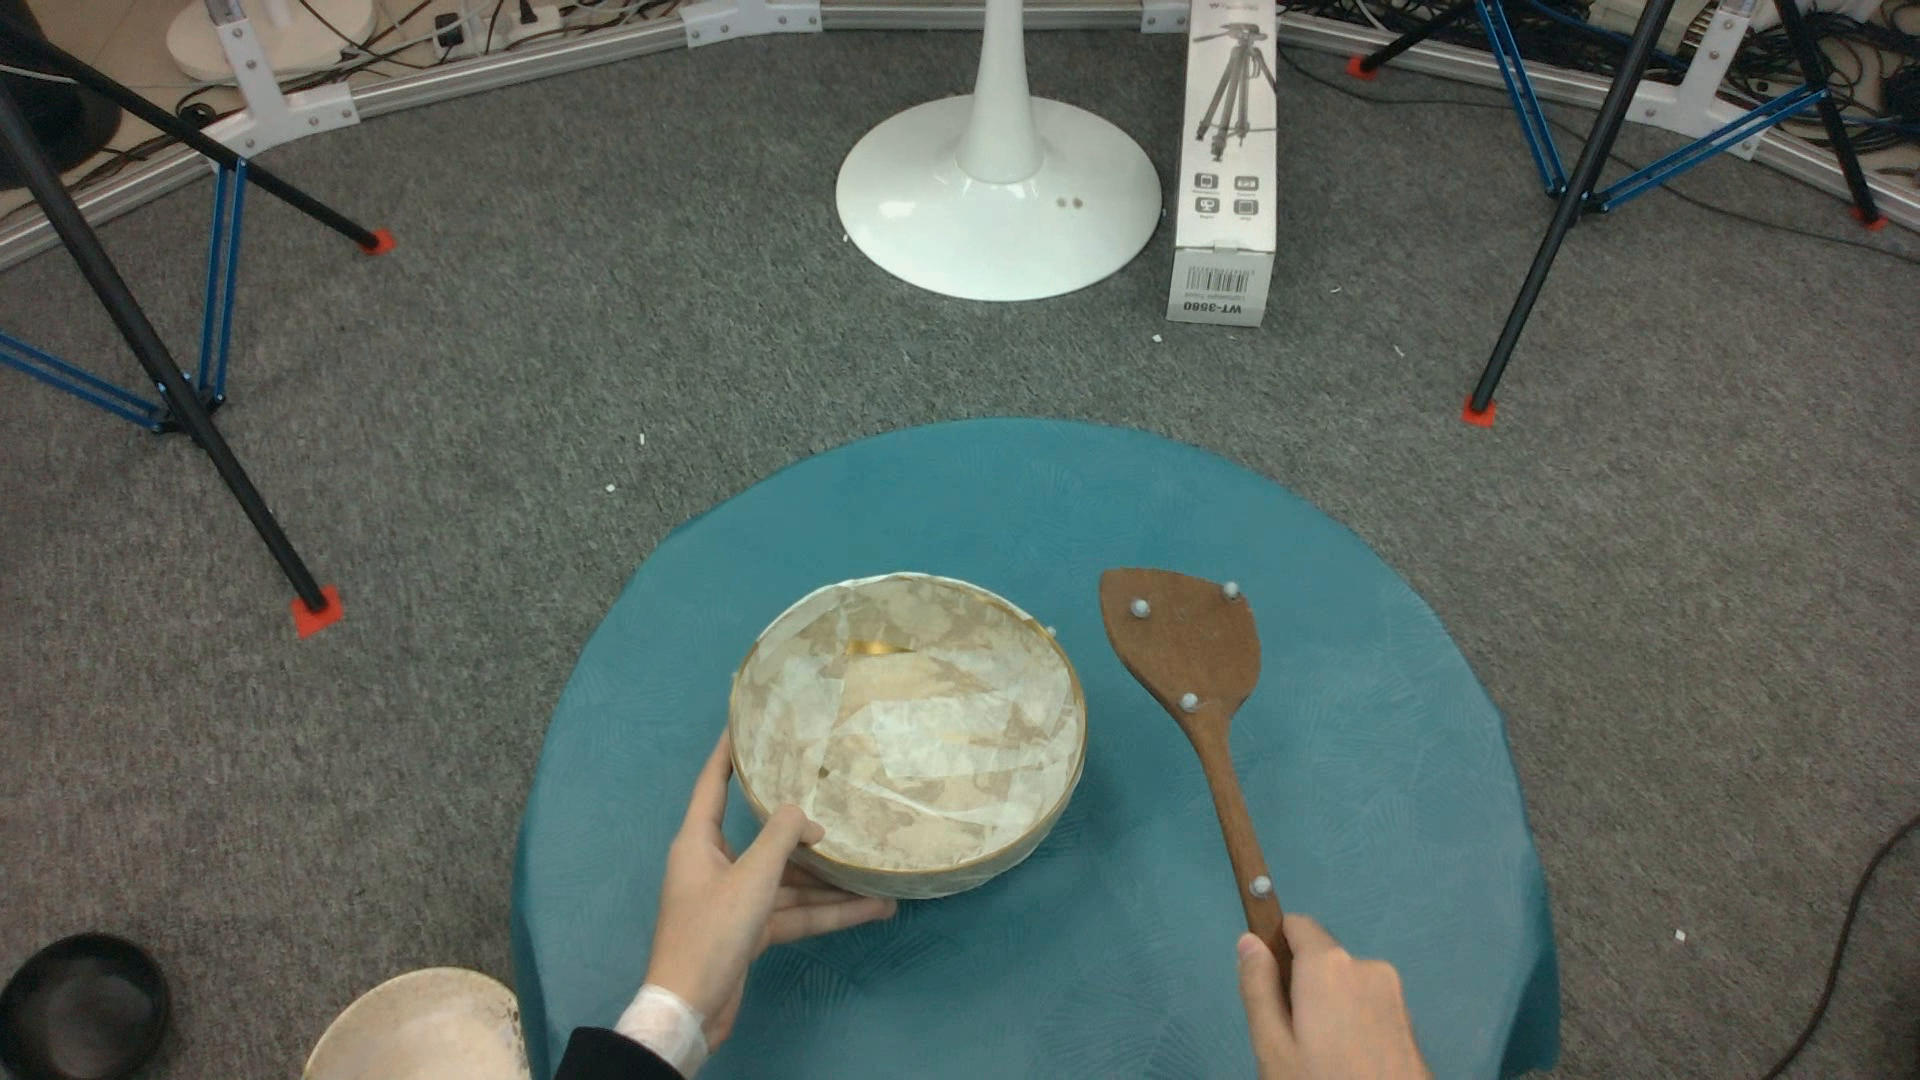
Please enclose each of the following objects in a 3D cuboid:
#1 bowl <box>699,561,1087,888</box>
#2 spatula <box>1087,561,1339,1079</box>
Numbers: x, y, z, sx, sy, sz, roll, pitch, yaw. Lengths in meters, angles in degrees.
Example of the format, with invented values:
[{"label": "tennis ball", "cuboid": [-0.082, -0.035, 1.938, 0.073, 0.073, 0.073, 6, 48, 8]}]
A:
[{"label": "bowl", "cuboid": [-0.037, 0.119, 0.786, 0.215, 0.094, 0.215, 4, 47, -4]}, {"label": "spatula", "cuboid": [0.131, 0.145, 0.645, 0.096, 0.015, 0.387, 11, 40, -17]}]
